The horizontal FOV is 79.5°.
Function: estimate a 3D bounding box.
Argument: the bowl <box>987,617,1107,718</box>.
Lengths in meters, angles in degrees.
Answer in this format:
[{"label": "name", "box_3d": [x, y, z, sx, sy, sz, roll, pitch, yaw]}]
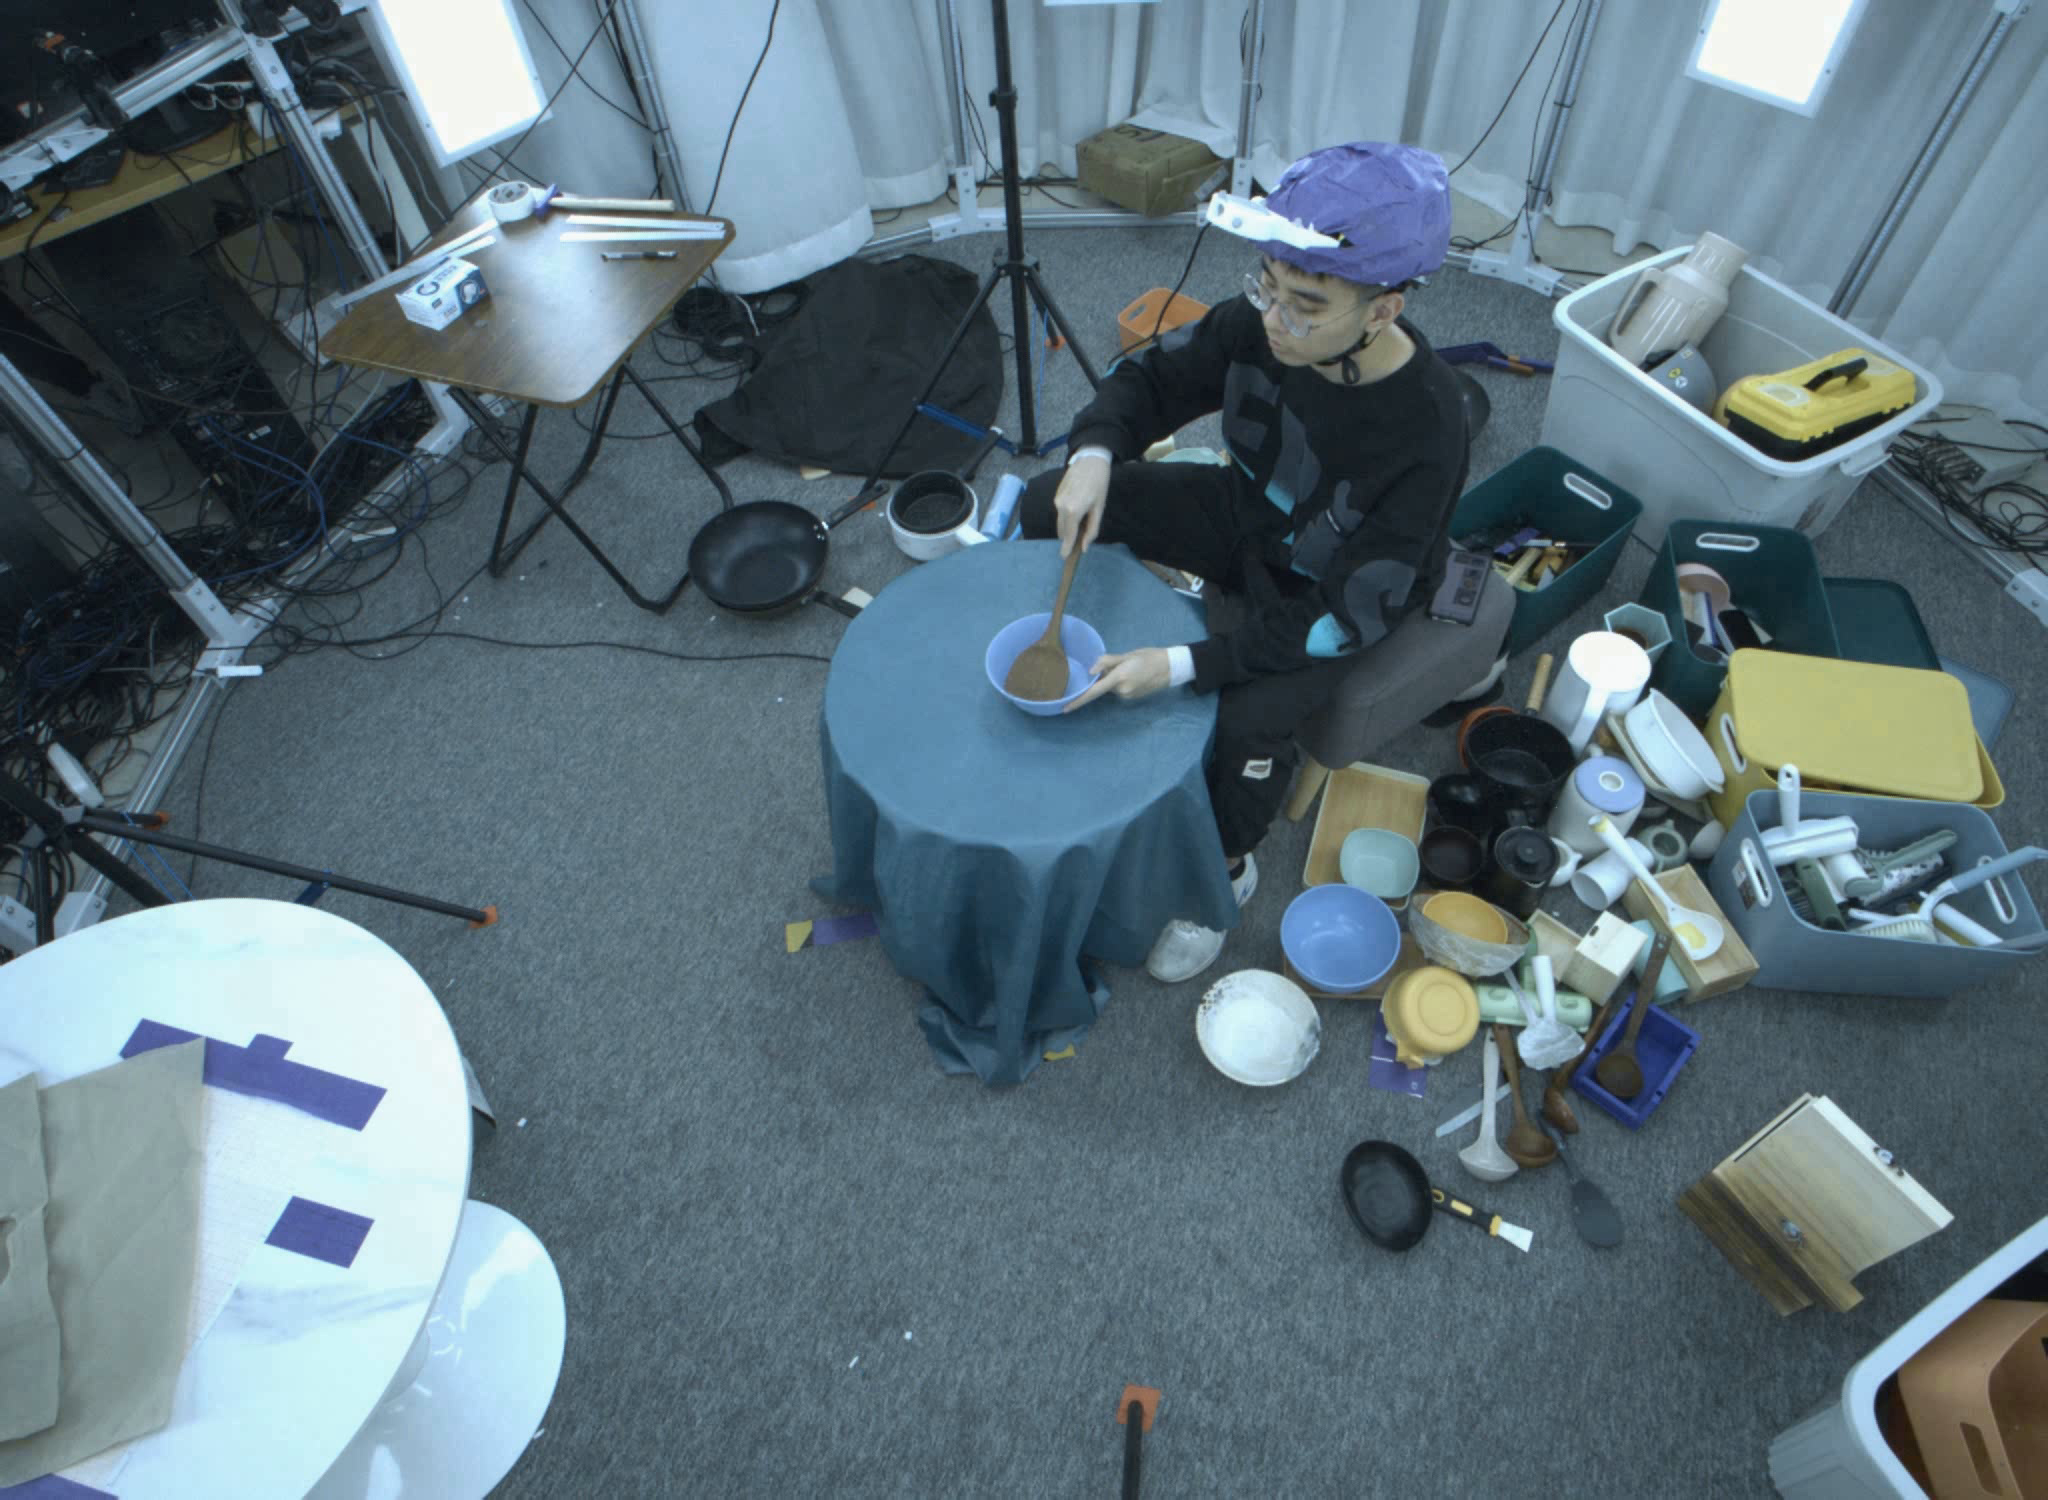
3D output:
[{"label": "bowl", "box_3d": [0.035, -0.113, 1.827, 0.176, 0.071, 0.174, -1, 53, 3]}]

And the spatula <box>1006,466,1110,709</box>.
[{"label": "spatula", "box_3d": [0.064, -0.244, 1.809, 0.094, 0.016, 0.385, 14, 83, 21]}]
